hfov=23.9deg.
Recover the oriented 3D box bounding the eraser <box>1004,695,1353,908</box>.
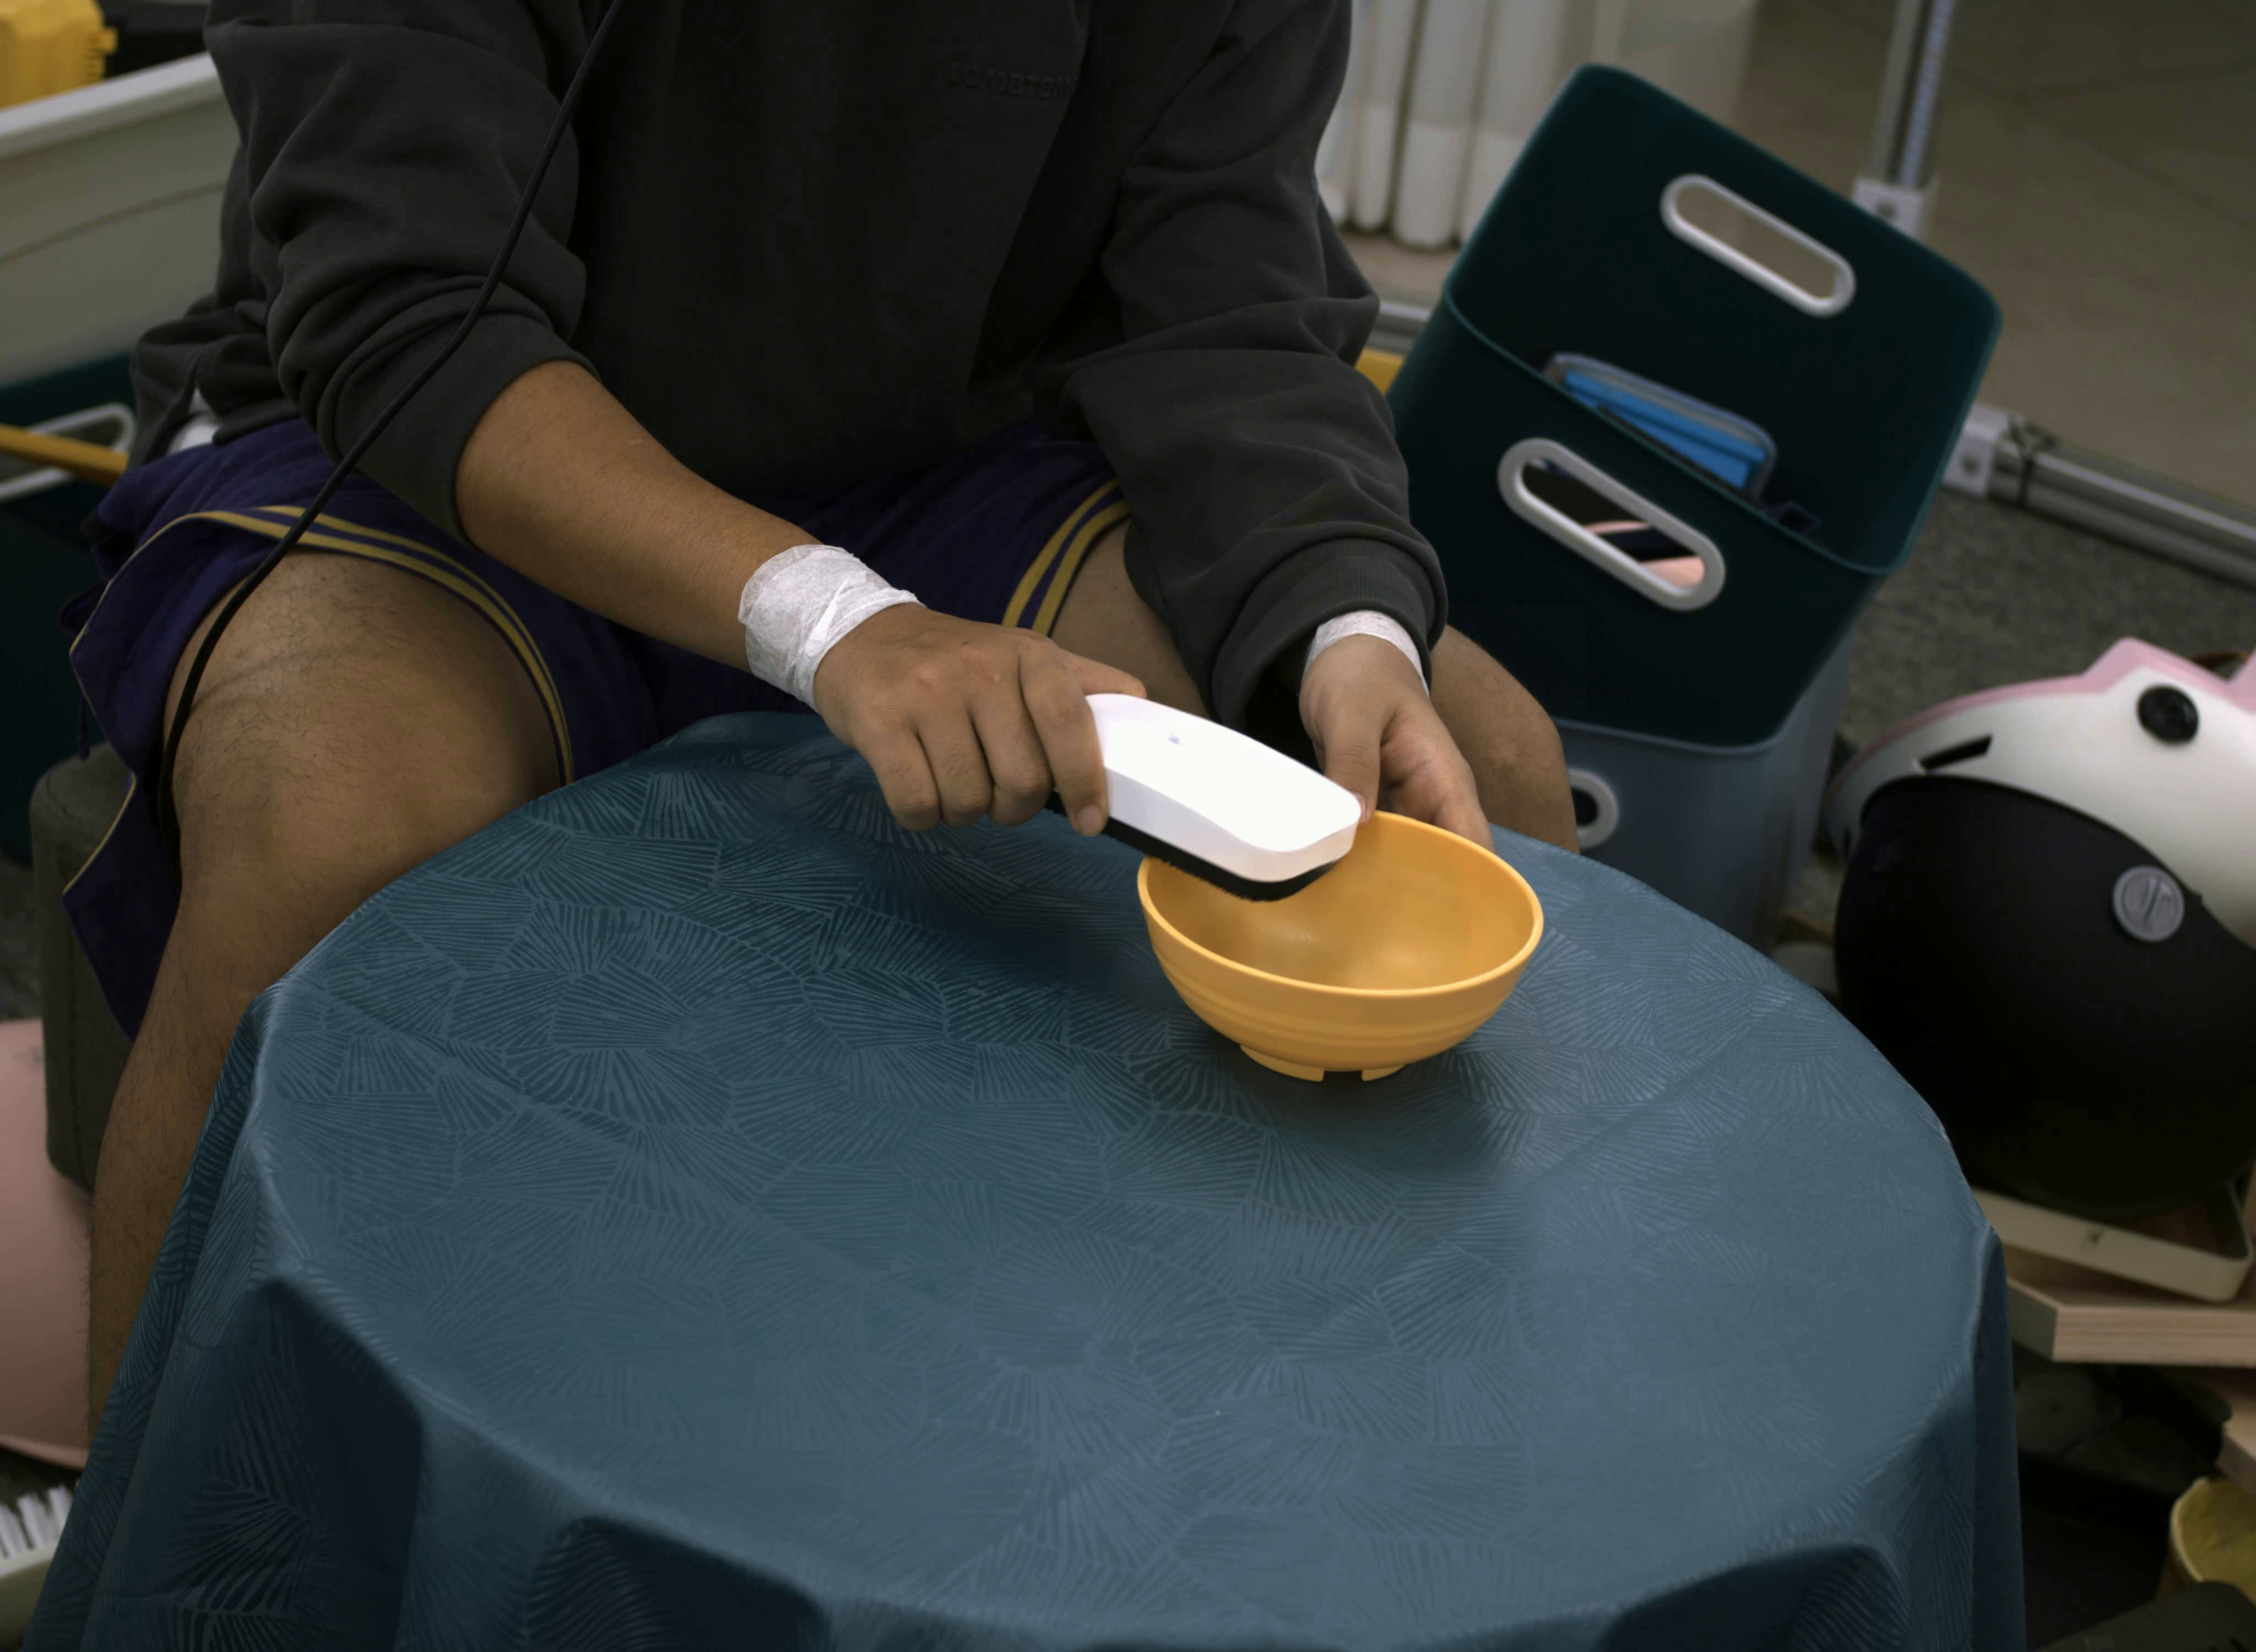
[{"bbox_3d":[0.018,-0.013,1.912,0.132,0.034,0.063,27,32,35],"label":"eraser"}]

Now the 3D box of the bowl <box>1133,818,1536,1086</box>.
[{"bbox_3d":[0.070,0.052,1.896,0.145,0.060,0.146,5,24,-2],"label":"bowl"}]
